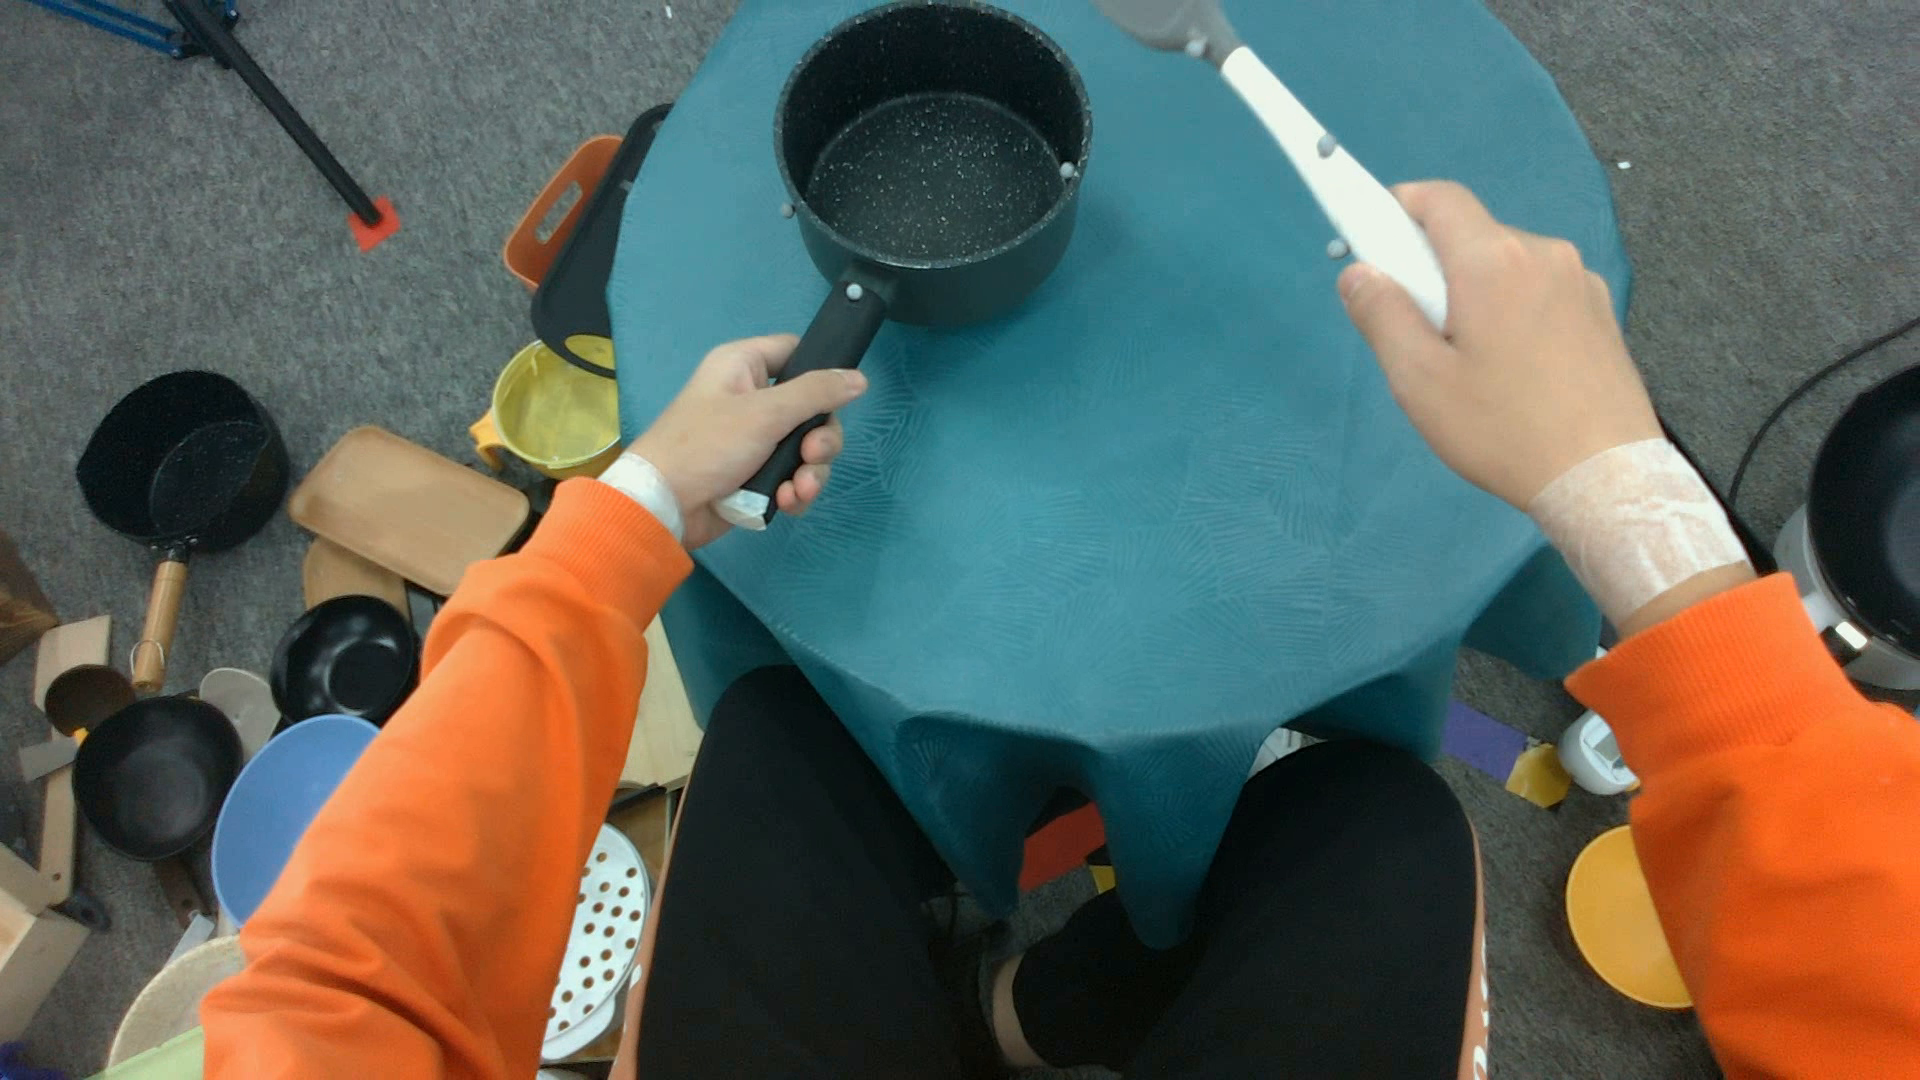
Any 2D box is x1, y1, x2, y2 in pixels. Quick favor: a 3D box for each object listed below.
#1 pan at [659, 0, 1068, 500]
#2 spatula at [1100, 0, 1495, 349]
[{"bbox_3d":[-0.060,-0.151,0.742,0.172,0.086,0.330,23,70,10],"label":"pan"},{"bbox_3d":[0.124,-0.196,0.589,0.032,0.058,0.288,-4,54,-47],"label":"spatula"}]
